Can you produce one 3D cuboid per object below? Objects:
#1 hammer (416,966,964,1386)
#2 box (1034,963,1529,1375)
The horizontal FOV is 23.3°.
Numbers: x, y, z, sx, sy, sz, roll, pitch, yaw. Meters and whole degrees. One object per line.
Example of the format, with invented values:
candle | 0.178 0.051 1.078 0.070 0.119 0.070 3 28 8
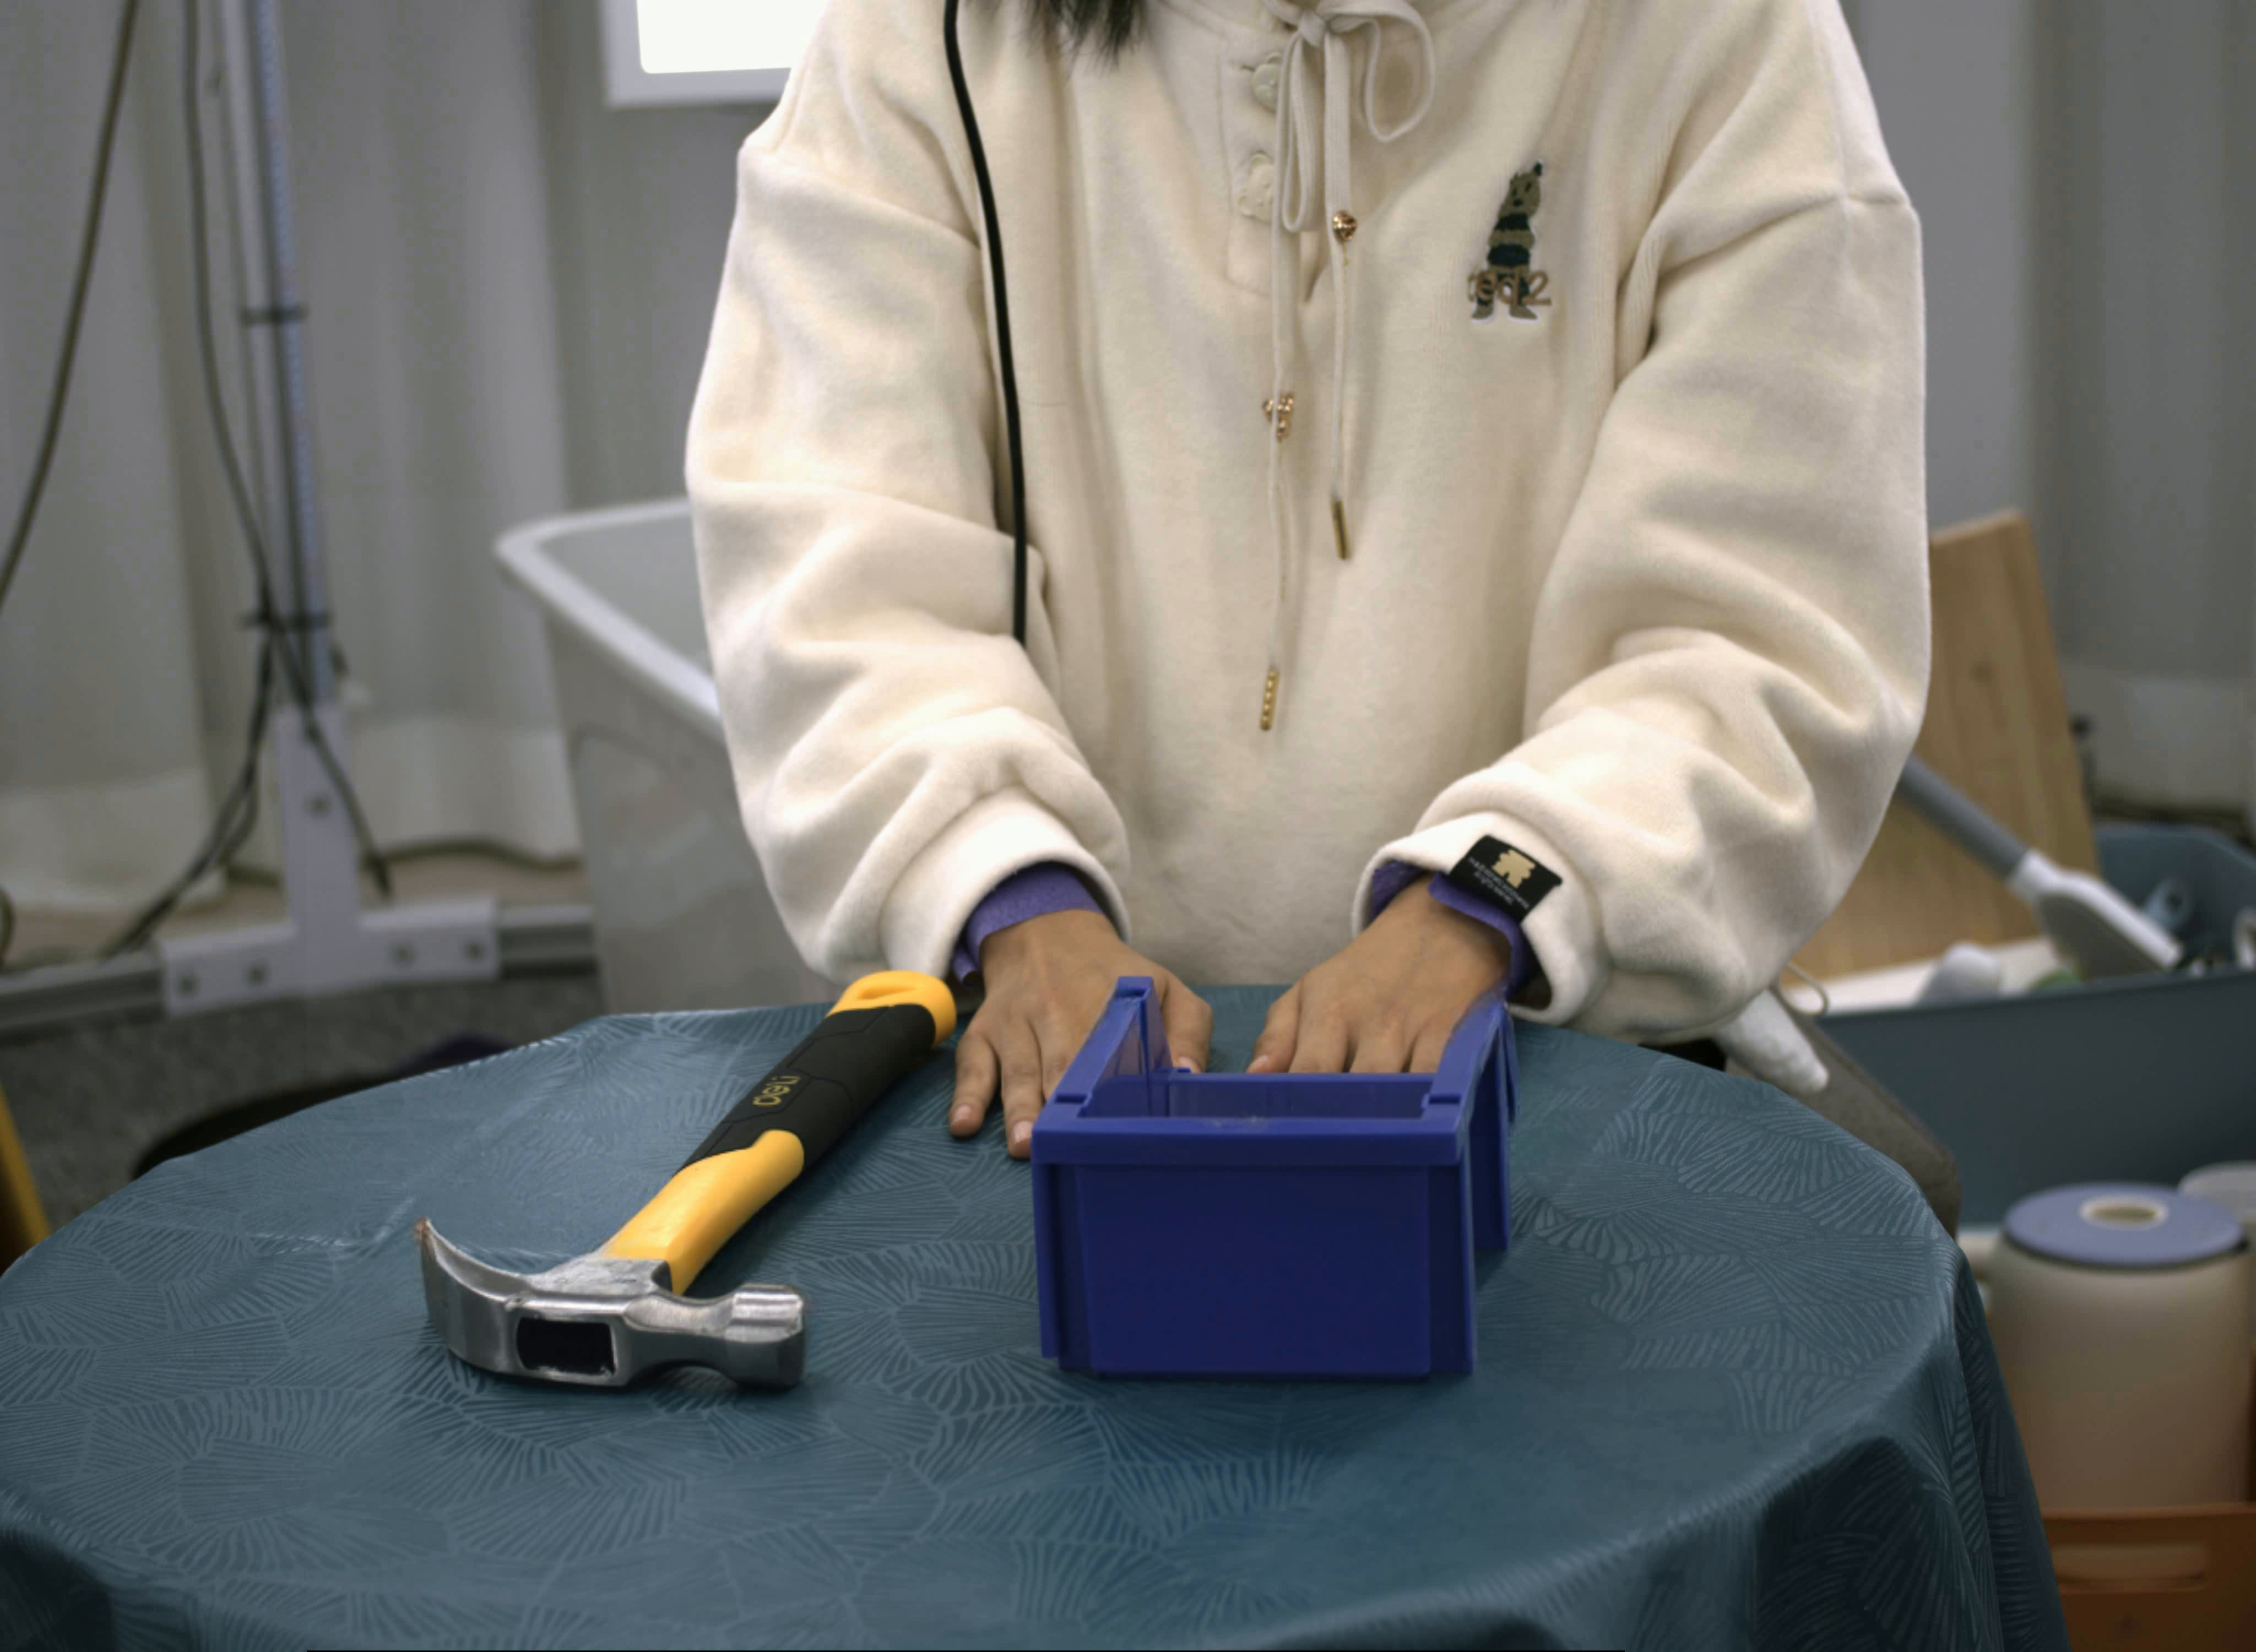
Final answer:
hammer | -0.118 0.103 1.716 0.131 0.032 0.340 0 15 16
box | 0.047 0.097 1.617 0.124 0.081 0.180 0 17 11
